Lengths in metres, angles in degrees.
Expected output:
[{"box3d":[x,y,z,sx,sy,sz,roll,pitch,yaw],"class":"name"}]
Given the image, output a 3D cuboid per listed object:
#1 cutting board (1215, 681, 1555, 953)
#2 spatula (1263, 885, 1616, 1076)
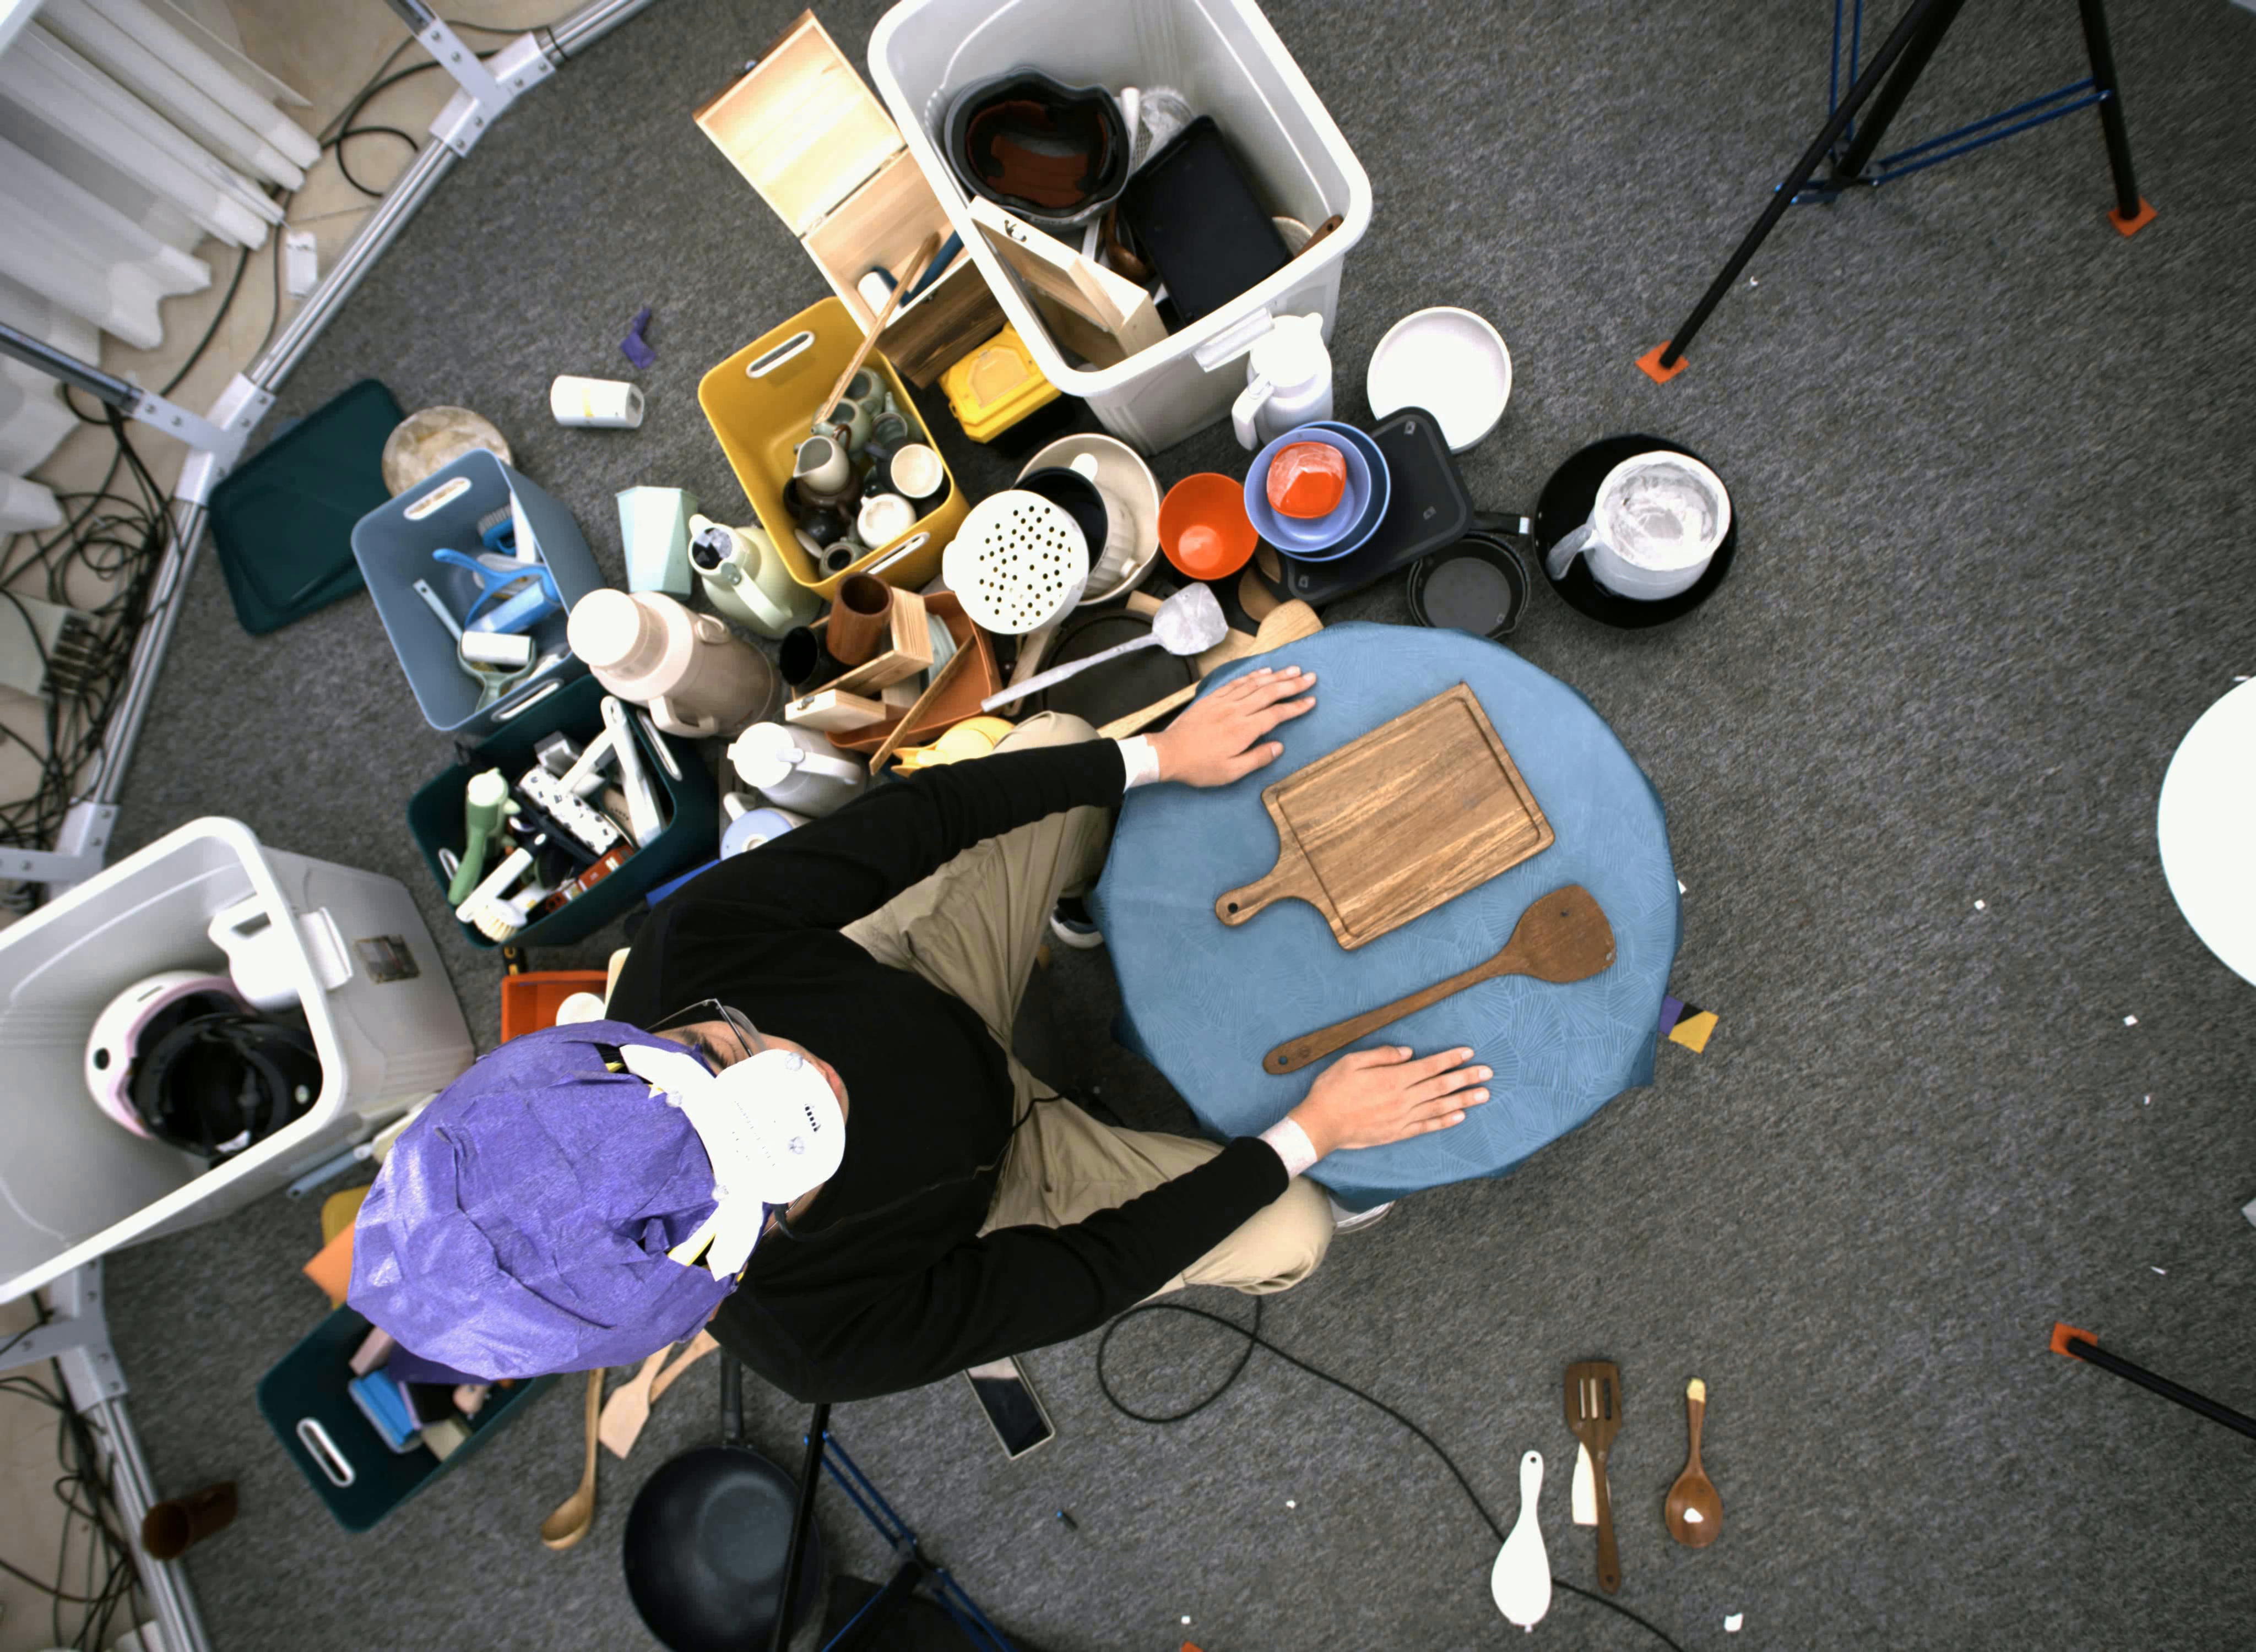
[{"box3d":[0.248,0.012,1.457,0.354,0.023,0.200,-29,82,8],"class":"cutting board"},{"box3d":[0.318,0.175,1.438,0.388,0.016,0.095,-25,82,8],"class":"spatula"}]
